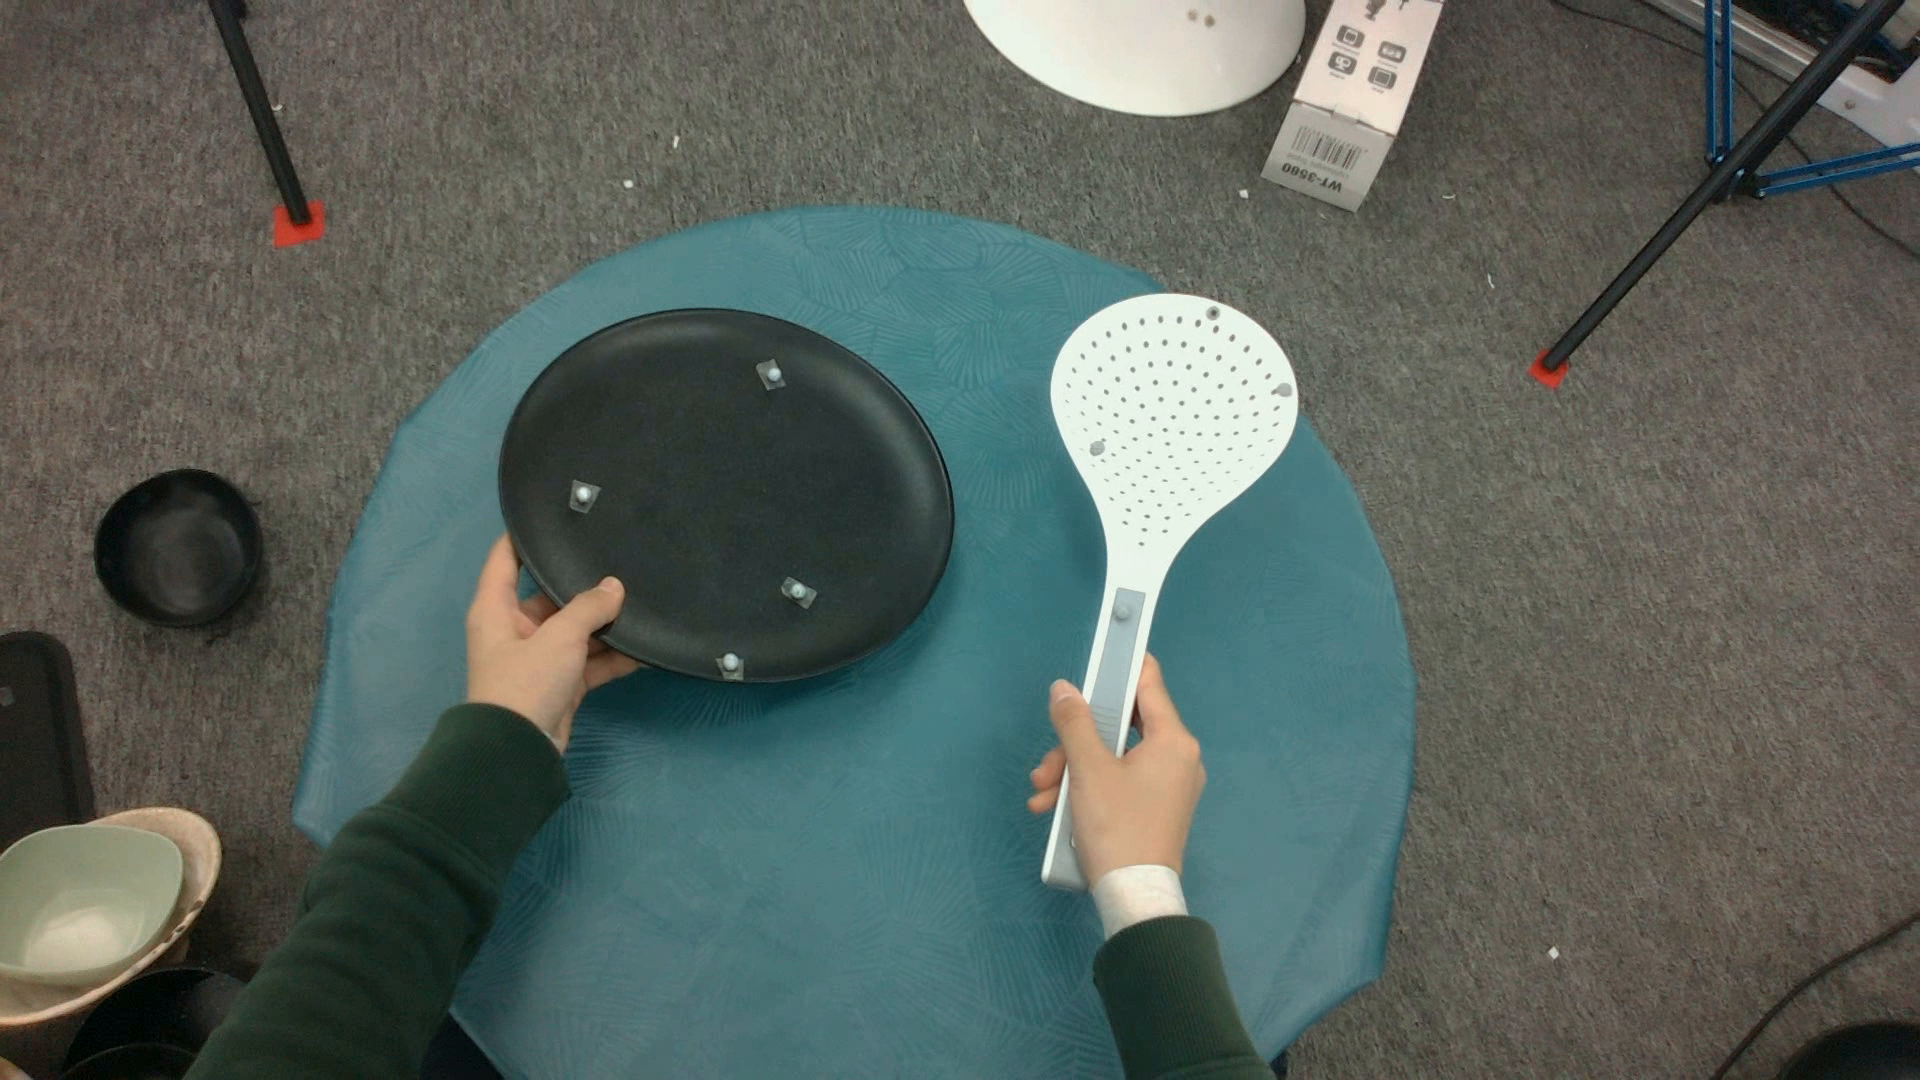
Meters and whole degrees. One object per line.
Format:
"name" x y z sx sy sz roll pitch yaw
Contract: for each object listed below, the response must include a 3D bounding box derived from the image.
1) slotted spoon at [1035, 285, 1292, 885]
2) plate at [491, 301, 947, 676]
"slotted spoon" 0.090 0.009 0.721 0.136 0.045 0.351 12 58 8
"plate" -0.127 -0.031 0.750 0.244 0.023 0.245 10 55 -14
